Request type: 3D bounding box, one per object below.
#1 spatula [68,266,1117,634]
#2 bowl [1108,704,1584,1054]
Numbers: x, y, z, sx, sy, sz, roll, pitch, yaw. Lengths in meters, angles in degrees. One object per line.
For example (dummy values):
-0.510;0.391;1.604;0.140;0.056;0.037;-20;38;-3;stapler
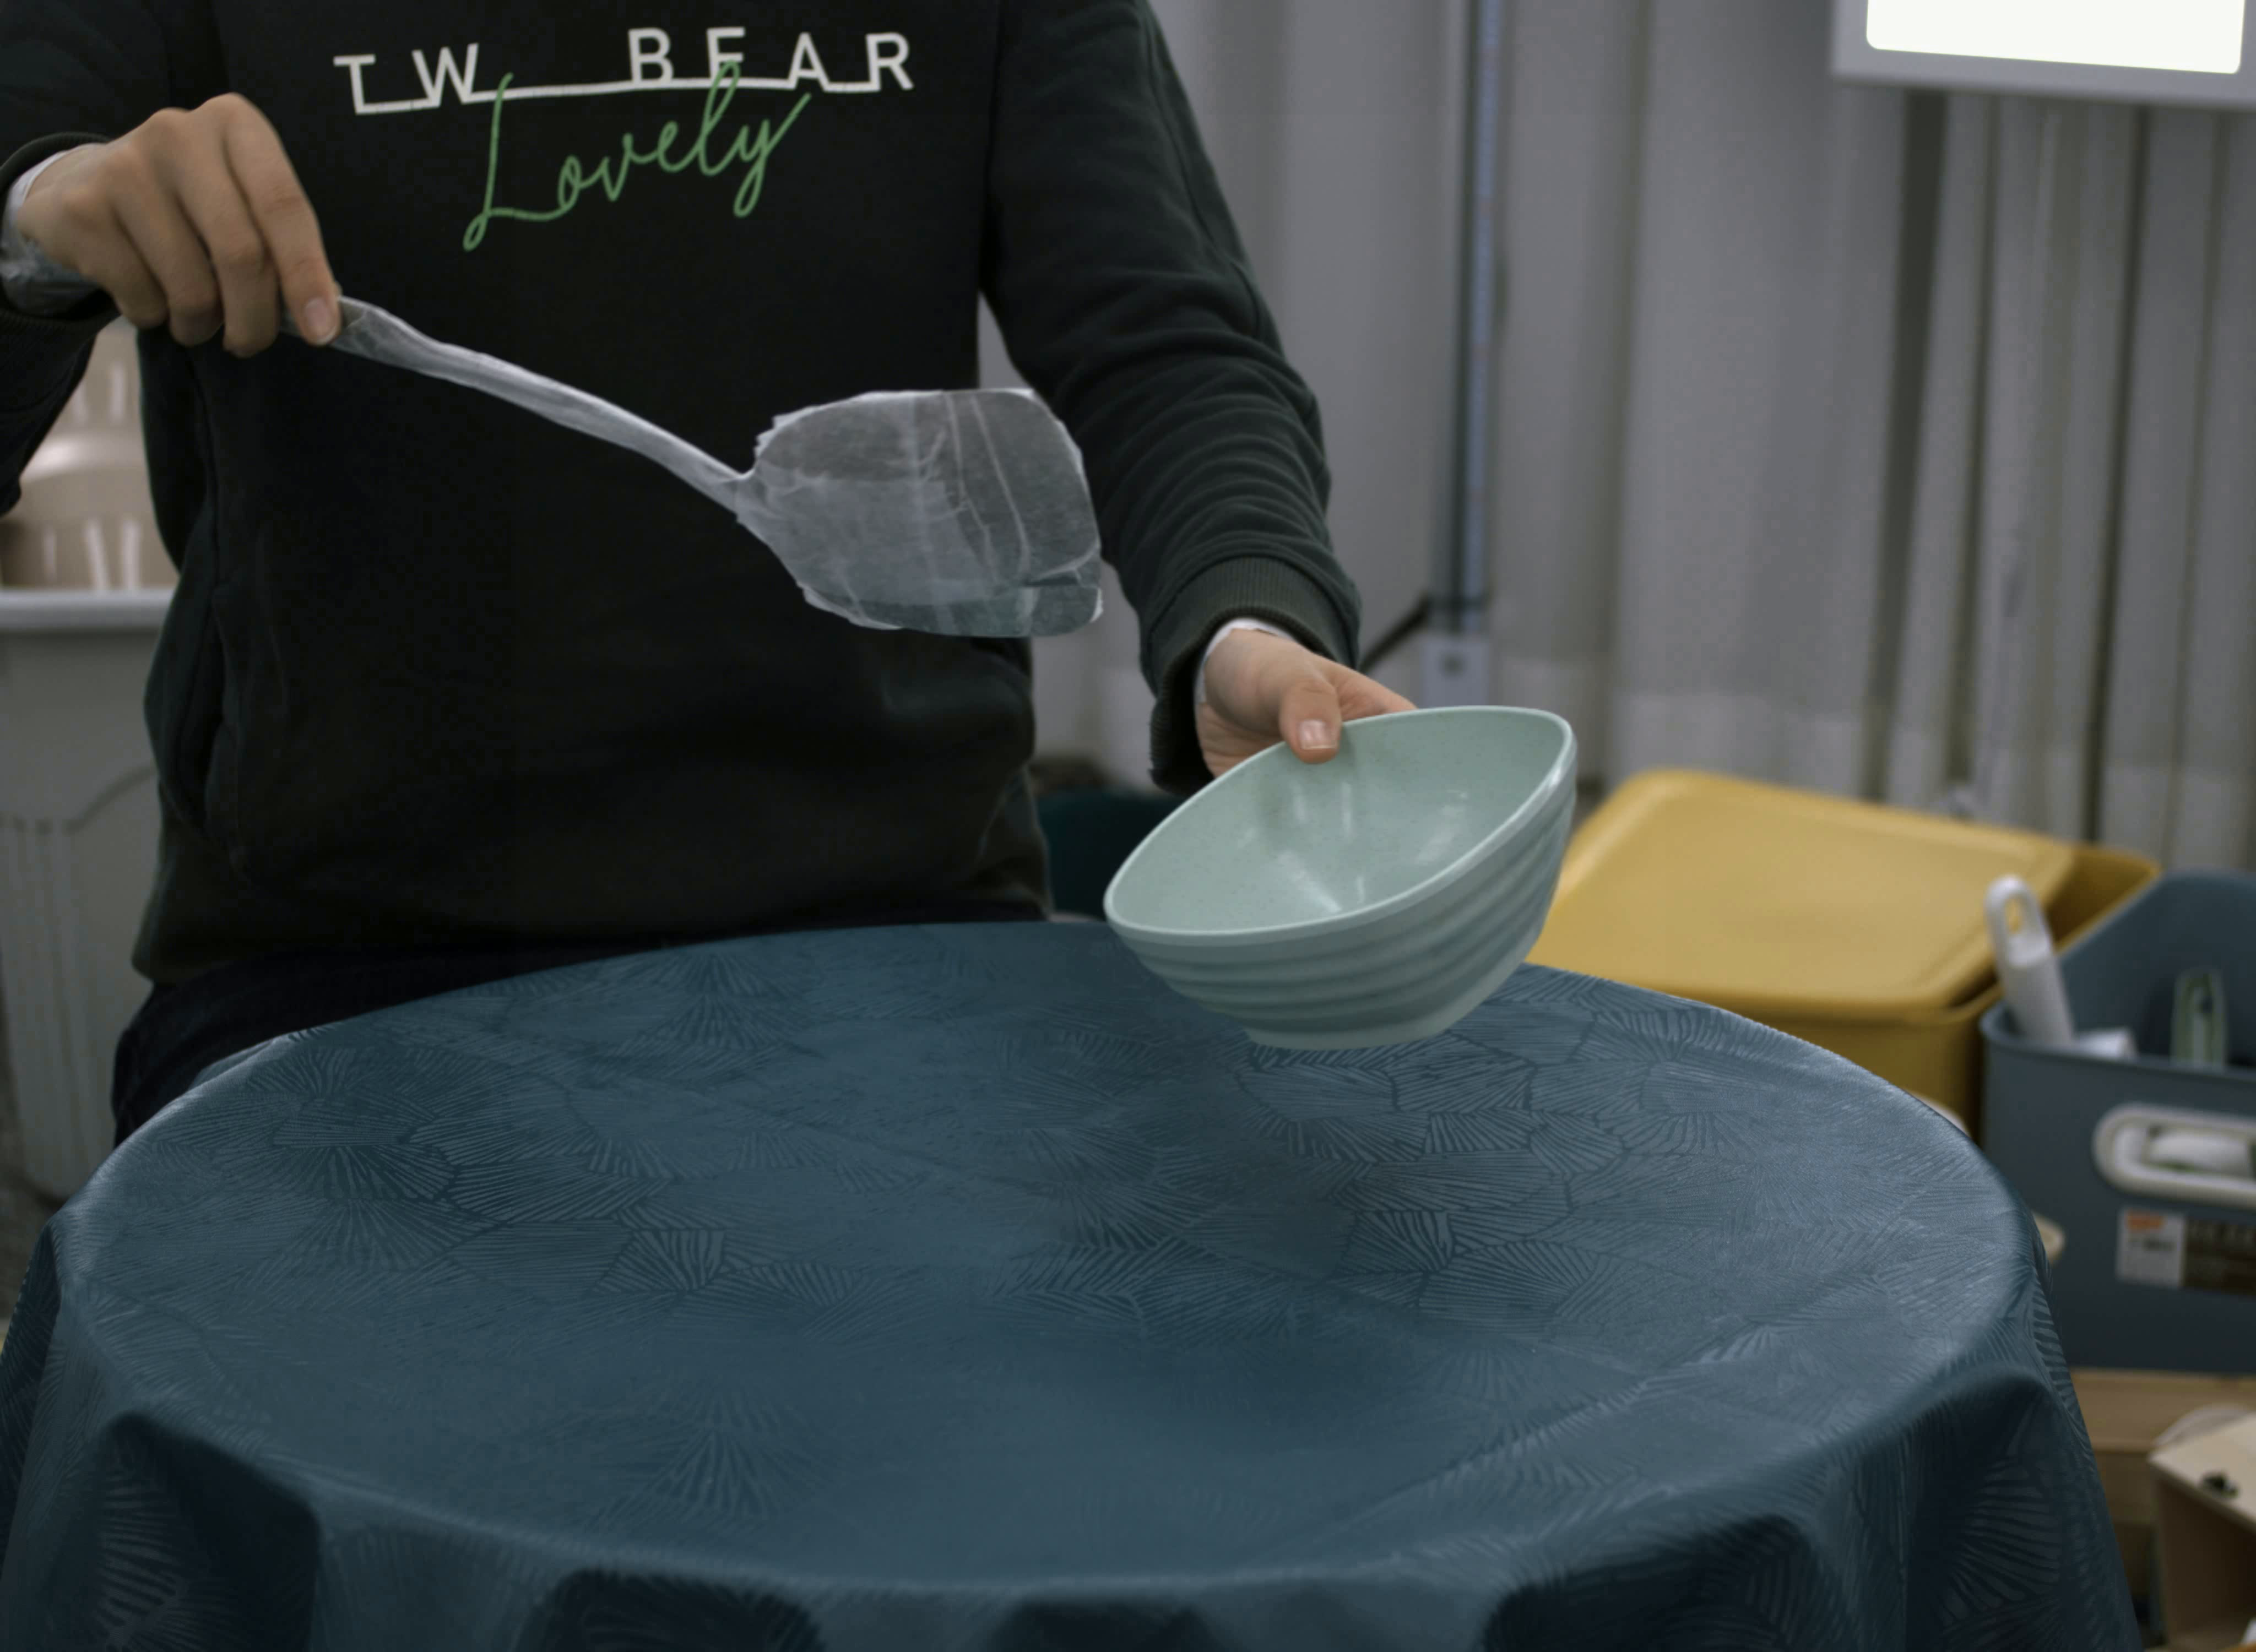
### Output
-0.168;-0.126;1.555;0.360;0.100;0.044;20;56;27;spatula
0.073;0.022;1.594;0.151;0.059;0.150;-16;25;8;bowl
